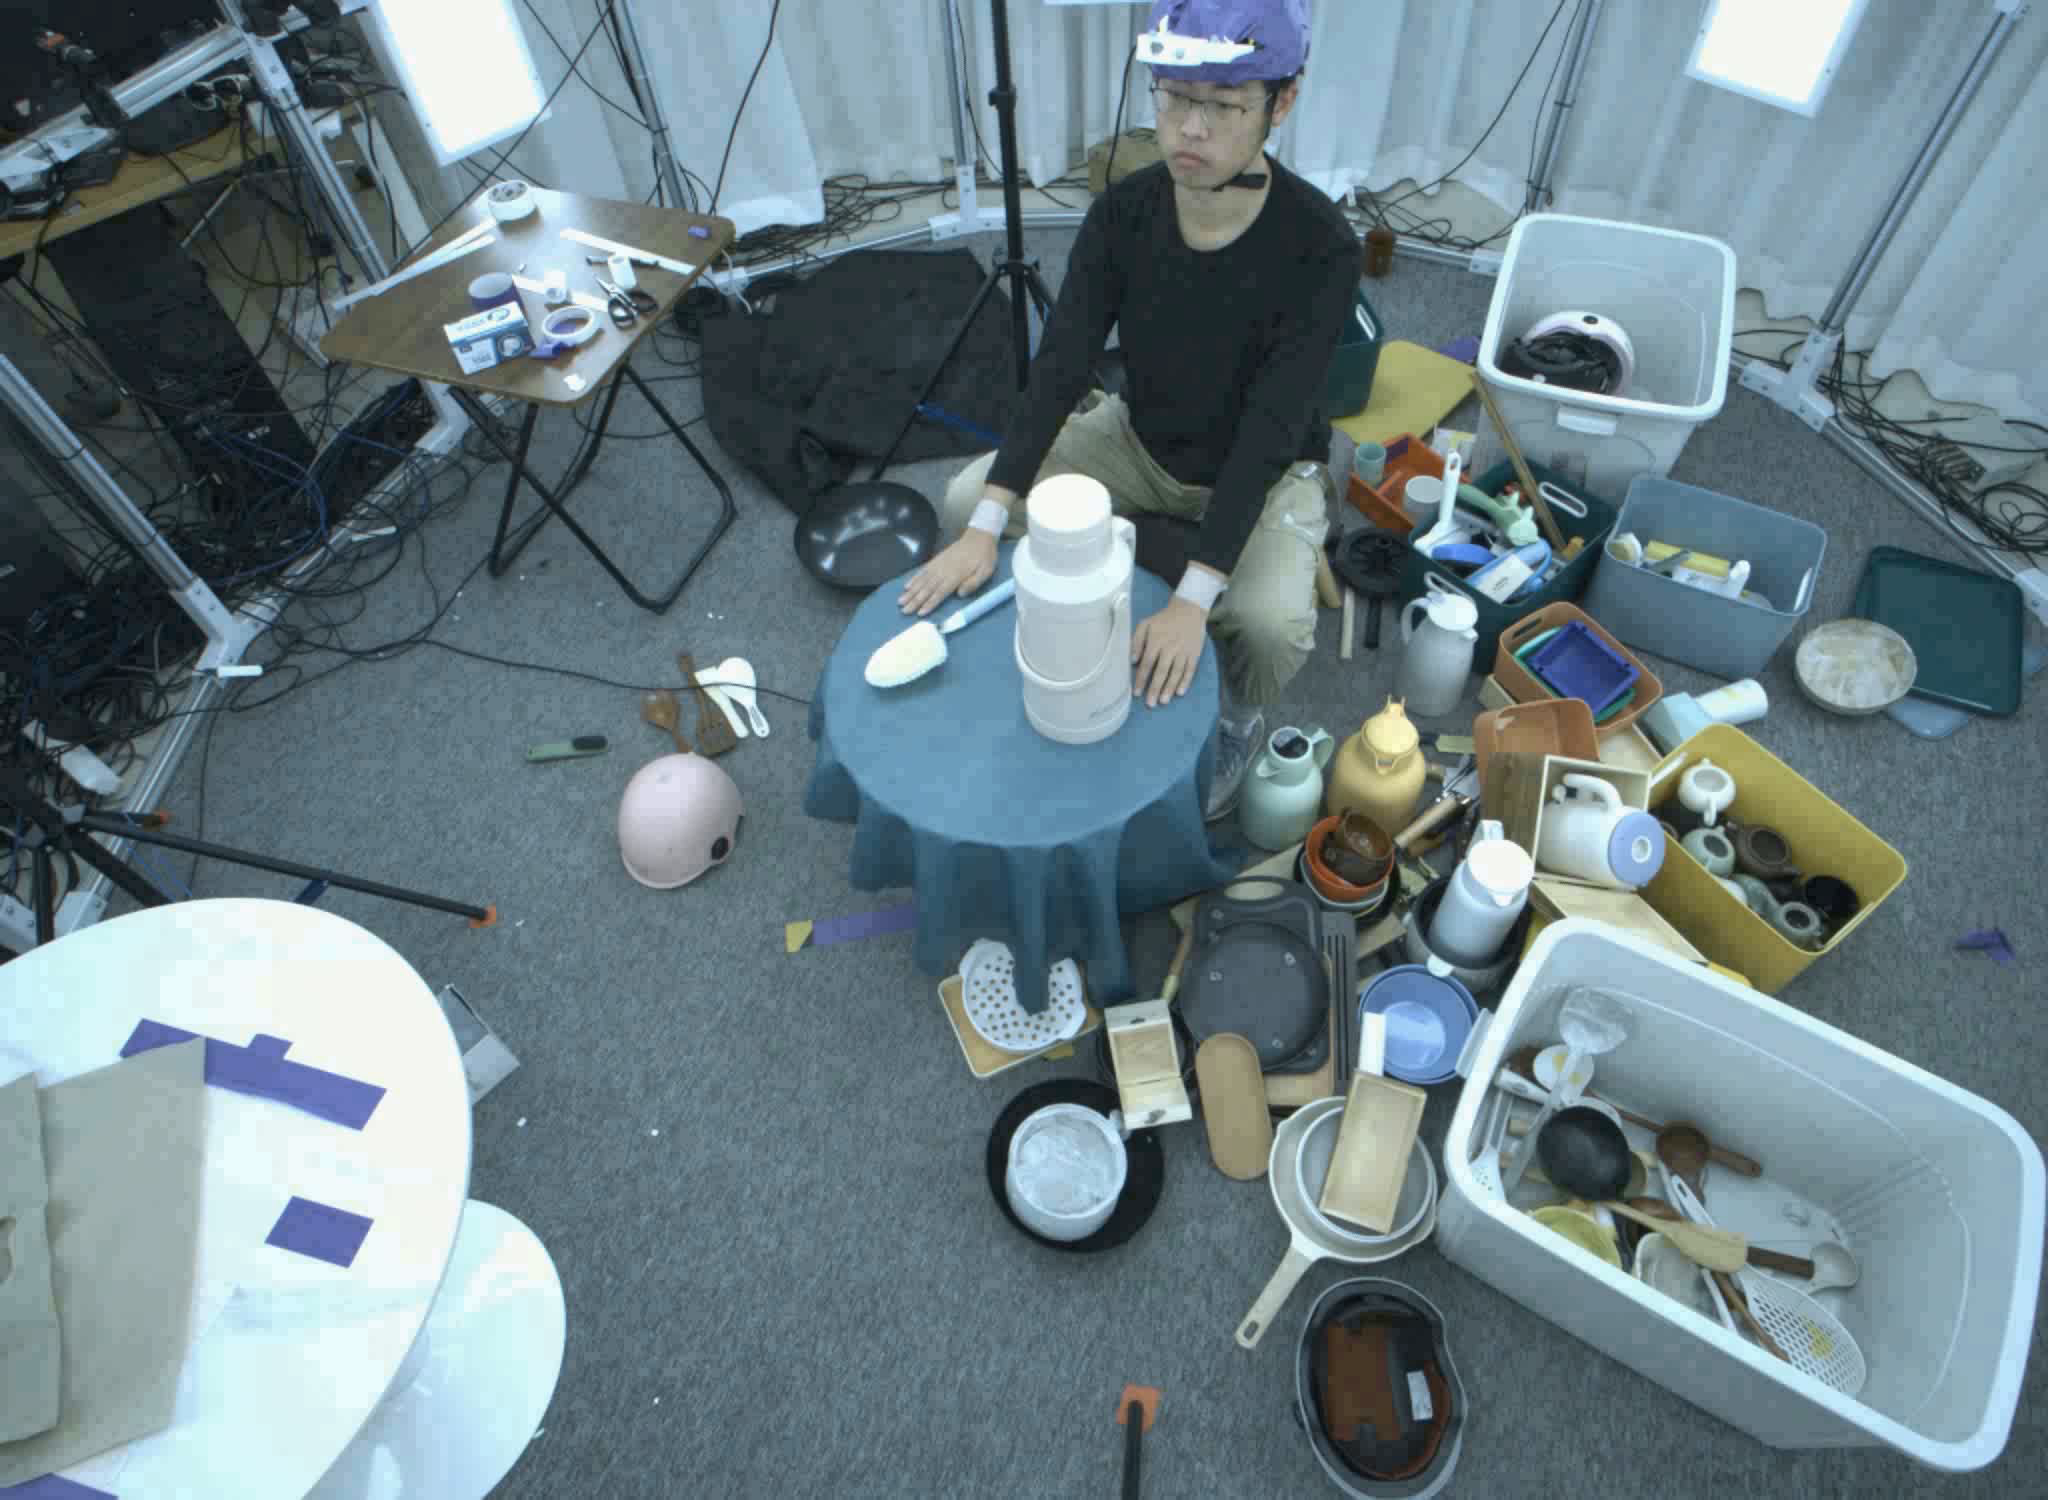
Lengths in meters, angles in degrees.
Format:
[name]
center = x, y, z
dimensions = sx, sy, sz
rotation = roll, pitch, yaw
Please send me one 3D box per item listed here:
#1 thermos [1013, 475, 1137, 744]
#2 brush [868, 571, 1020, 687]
[thermos]
center = 0.080, -0.196, 1.679
dimensions = 0.172, 0.411, 0.208
rotation = 33, 63, 26
[brush]
center = -0.102, -0.197, 1.881
dimensions = 0.328, 0.084, 0.083
rotation = -35, 54, -19
